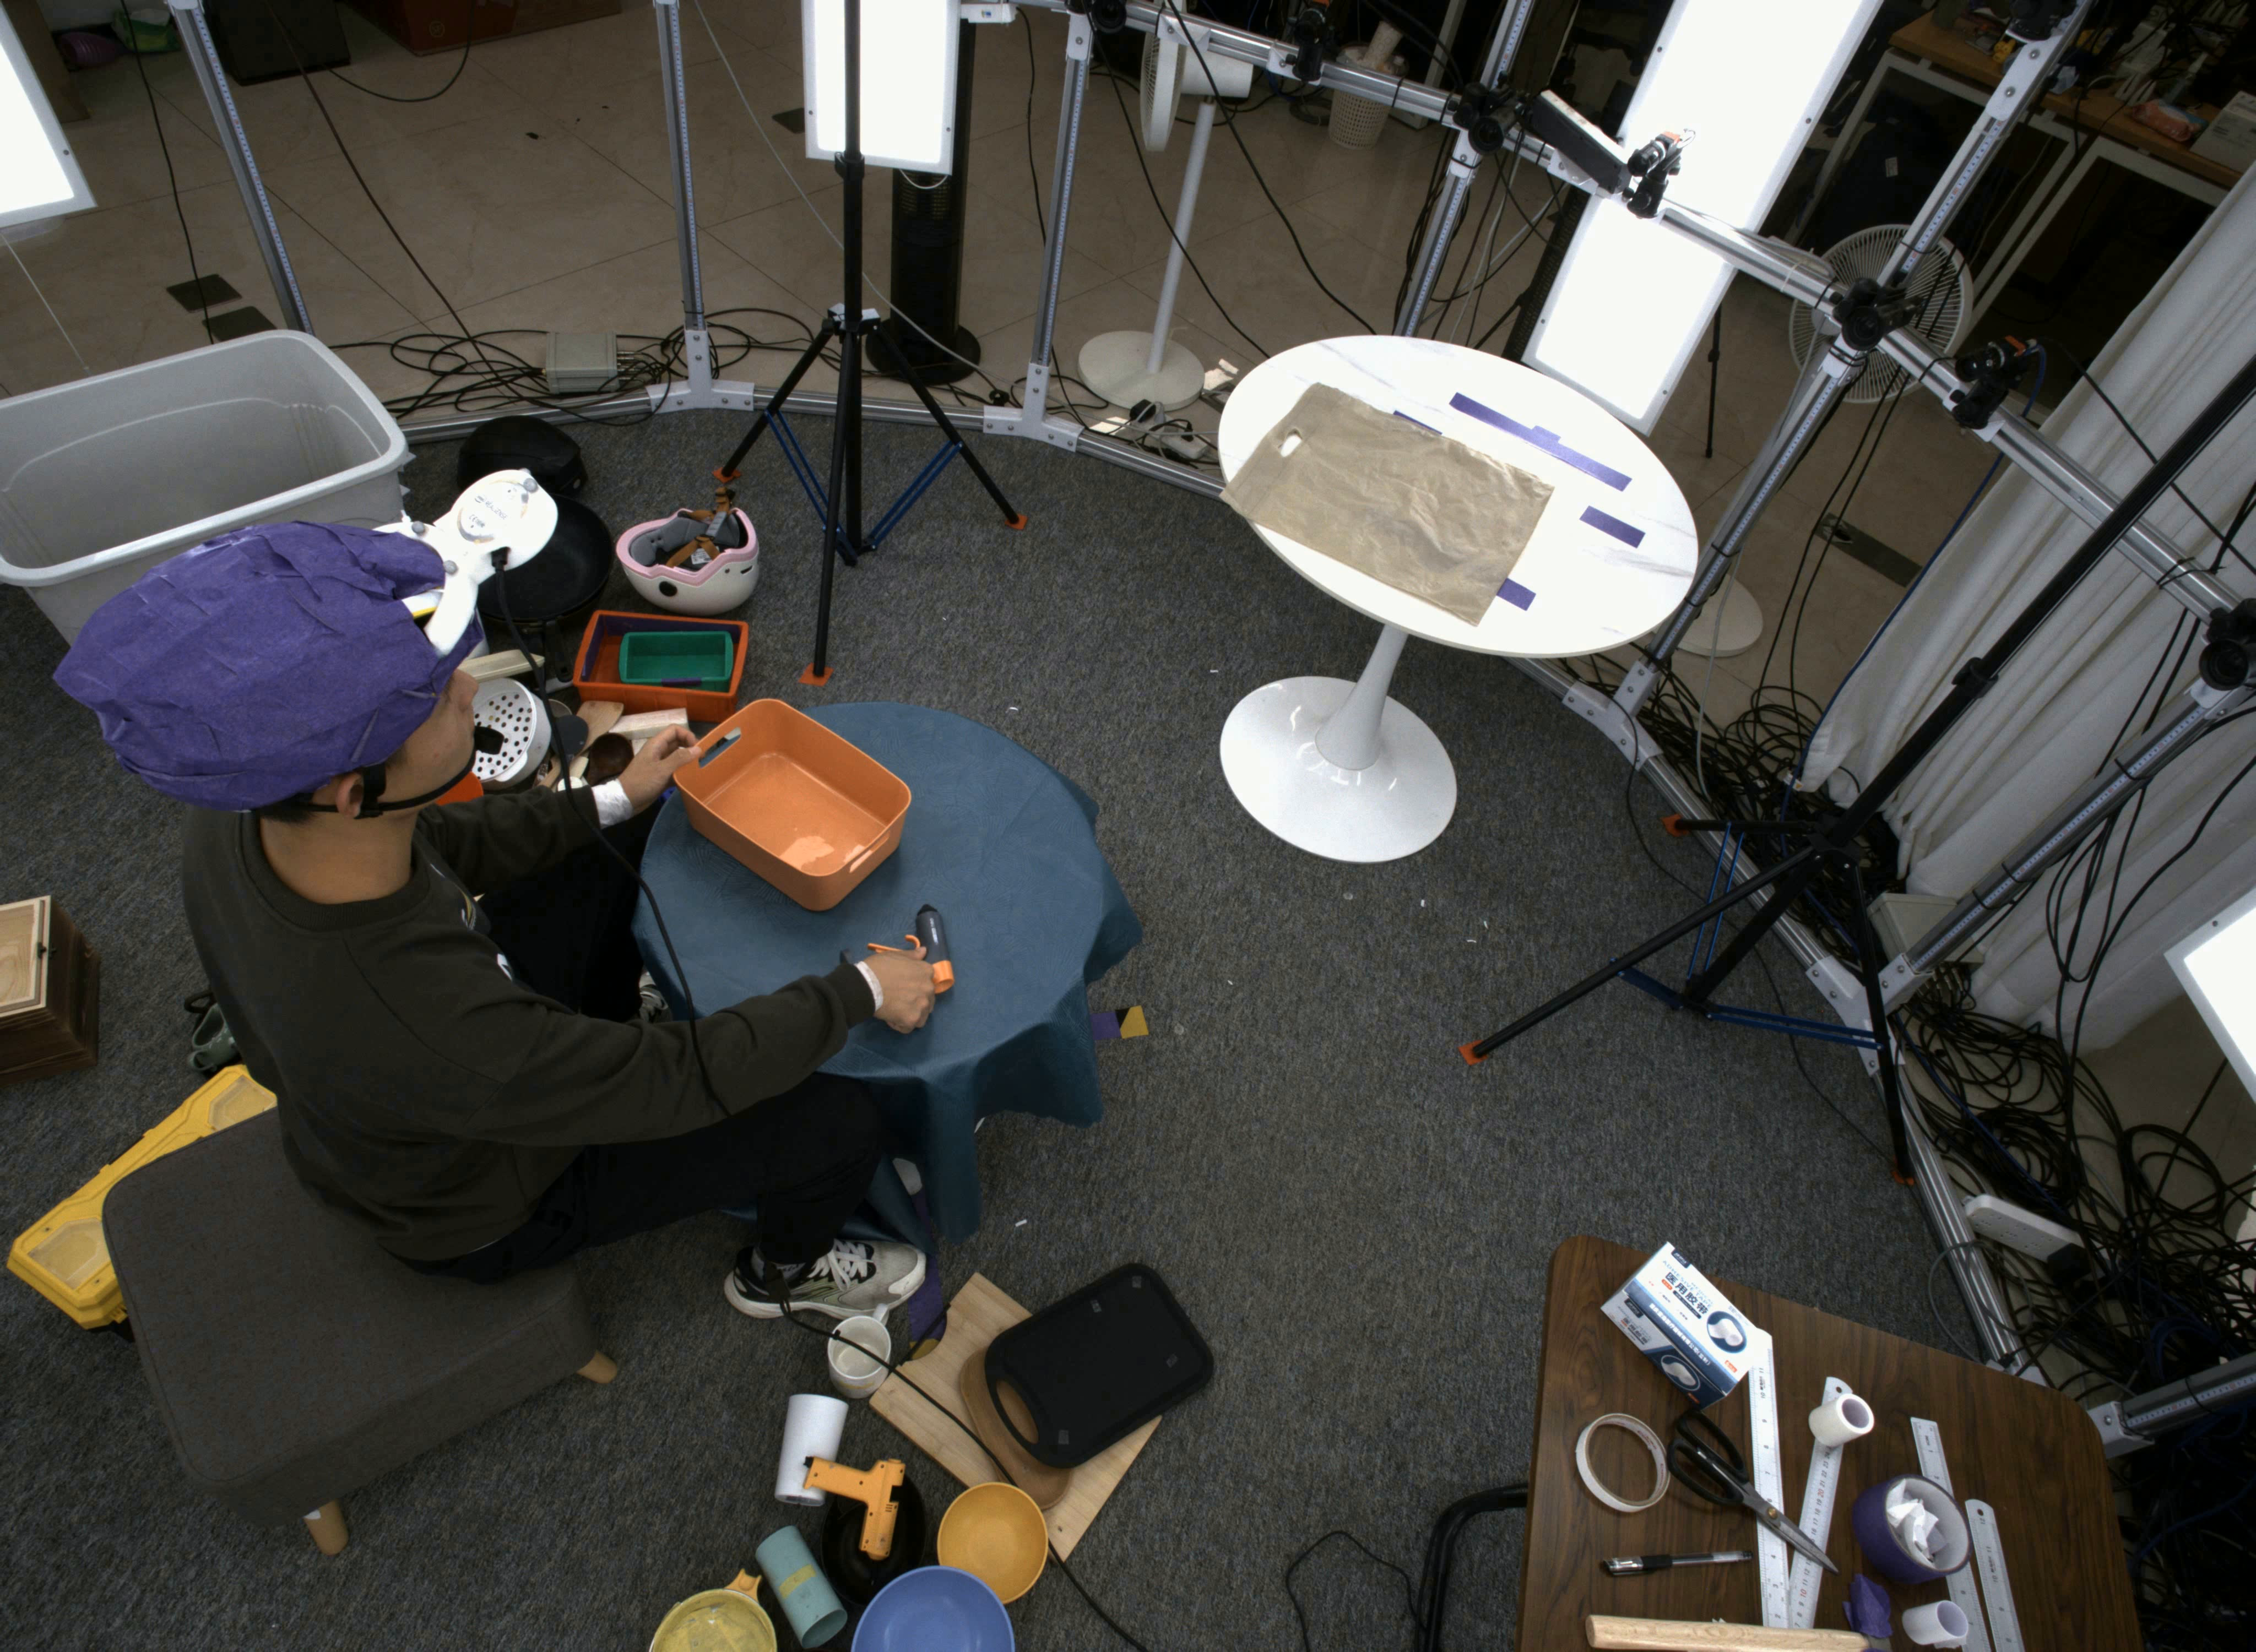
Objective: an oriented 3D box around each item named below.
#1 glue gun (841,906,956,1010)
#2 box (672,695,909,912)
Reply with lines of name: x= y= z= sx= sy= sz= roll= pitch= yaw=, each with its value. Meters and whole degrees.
glue gun: x=-0.281 y=0.162 z=1.615 sx=0.140 sy=0.042 sz=0.115 roll=-20 pitch=62 yaw=-29
box: x=-0.433 y=-0.025 z=1.669 sx=0.268 sy=0.104 sz=0.199 roll=33 pitch=53 yaw=11
